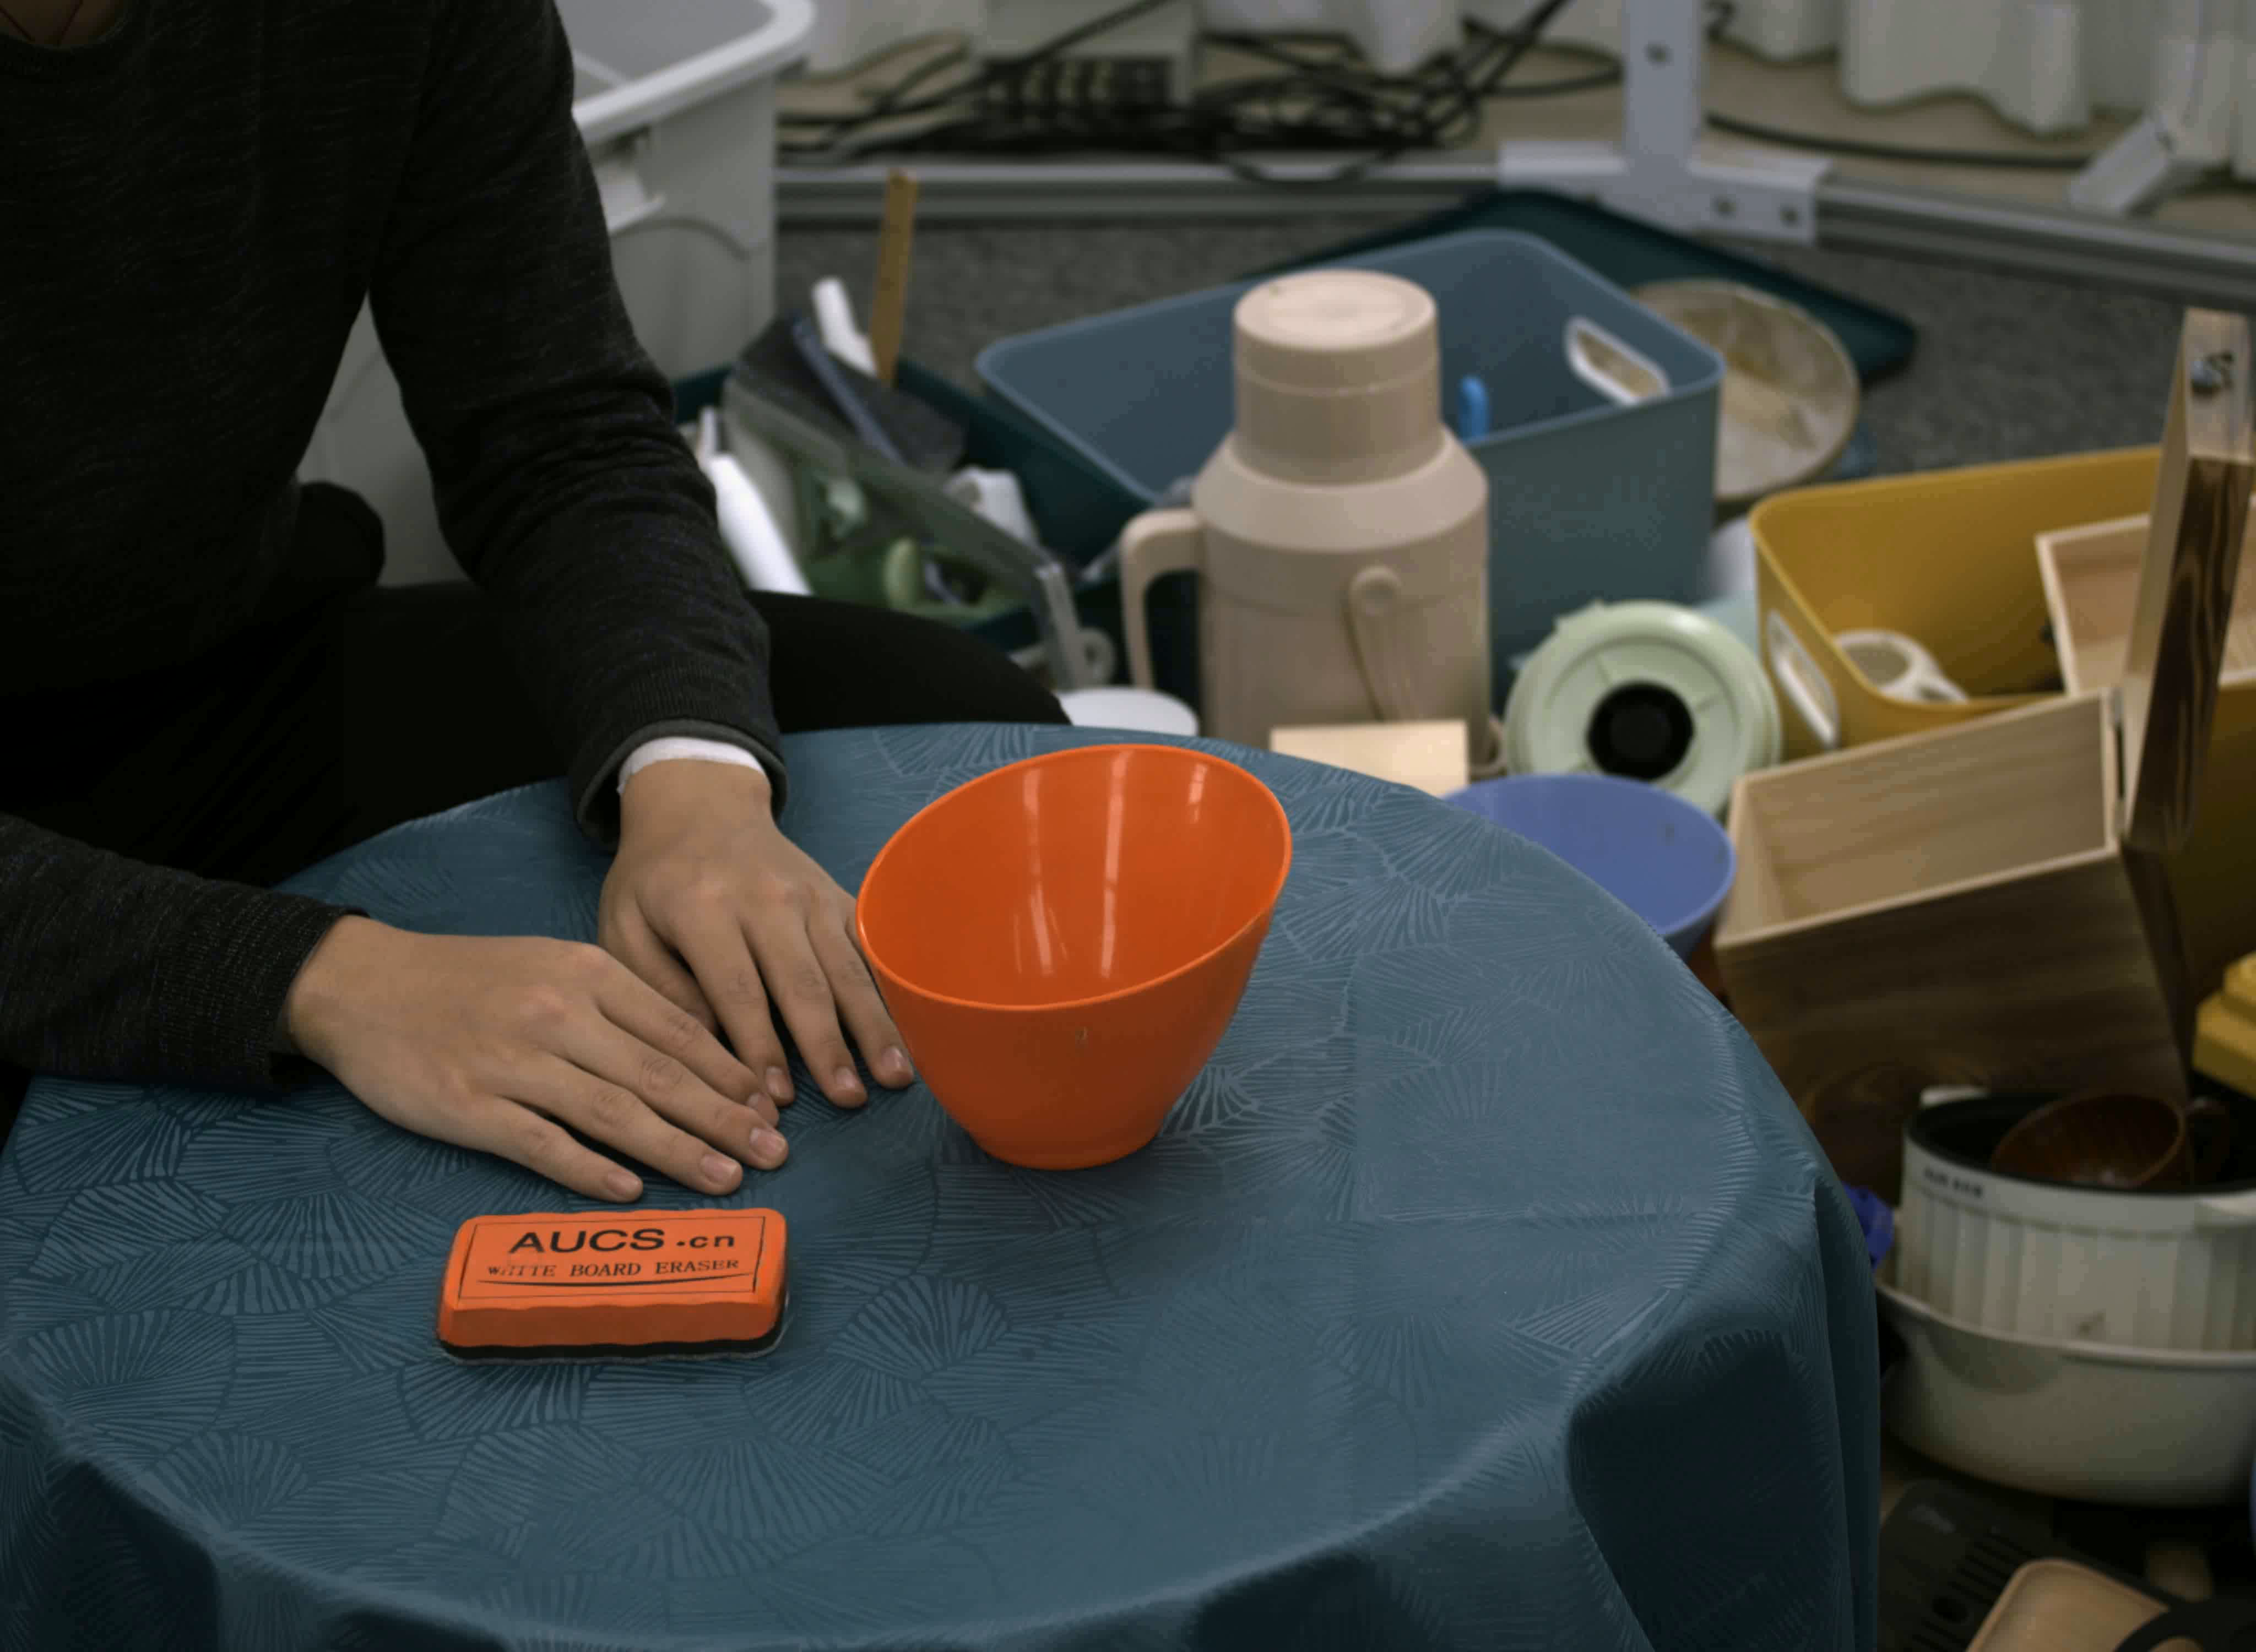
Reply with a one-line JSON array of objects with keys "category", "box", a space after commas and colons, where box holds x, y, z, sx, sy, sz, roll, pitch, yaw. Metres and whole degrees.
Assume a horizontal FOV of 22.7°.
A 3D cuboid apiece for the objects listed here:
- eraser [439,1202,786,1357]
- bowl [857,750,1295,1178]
[{"category": "eraser", "box": [-0.165, 0.146, 1.799, 0.107, 0.022, 0.060, -1, 29, 1]}, {"category": "bowl", "box": [-0.015, 0.053, 1.887, 0.147, 0.103, 0.150, -2, 27, 1]}]
